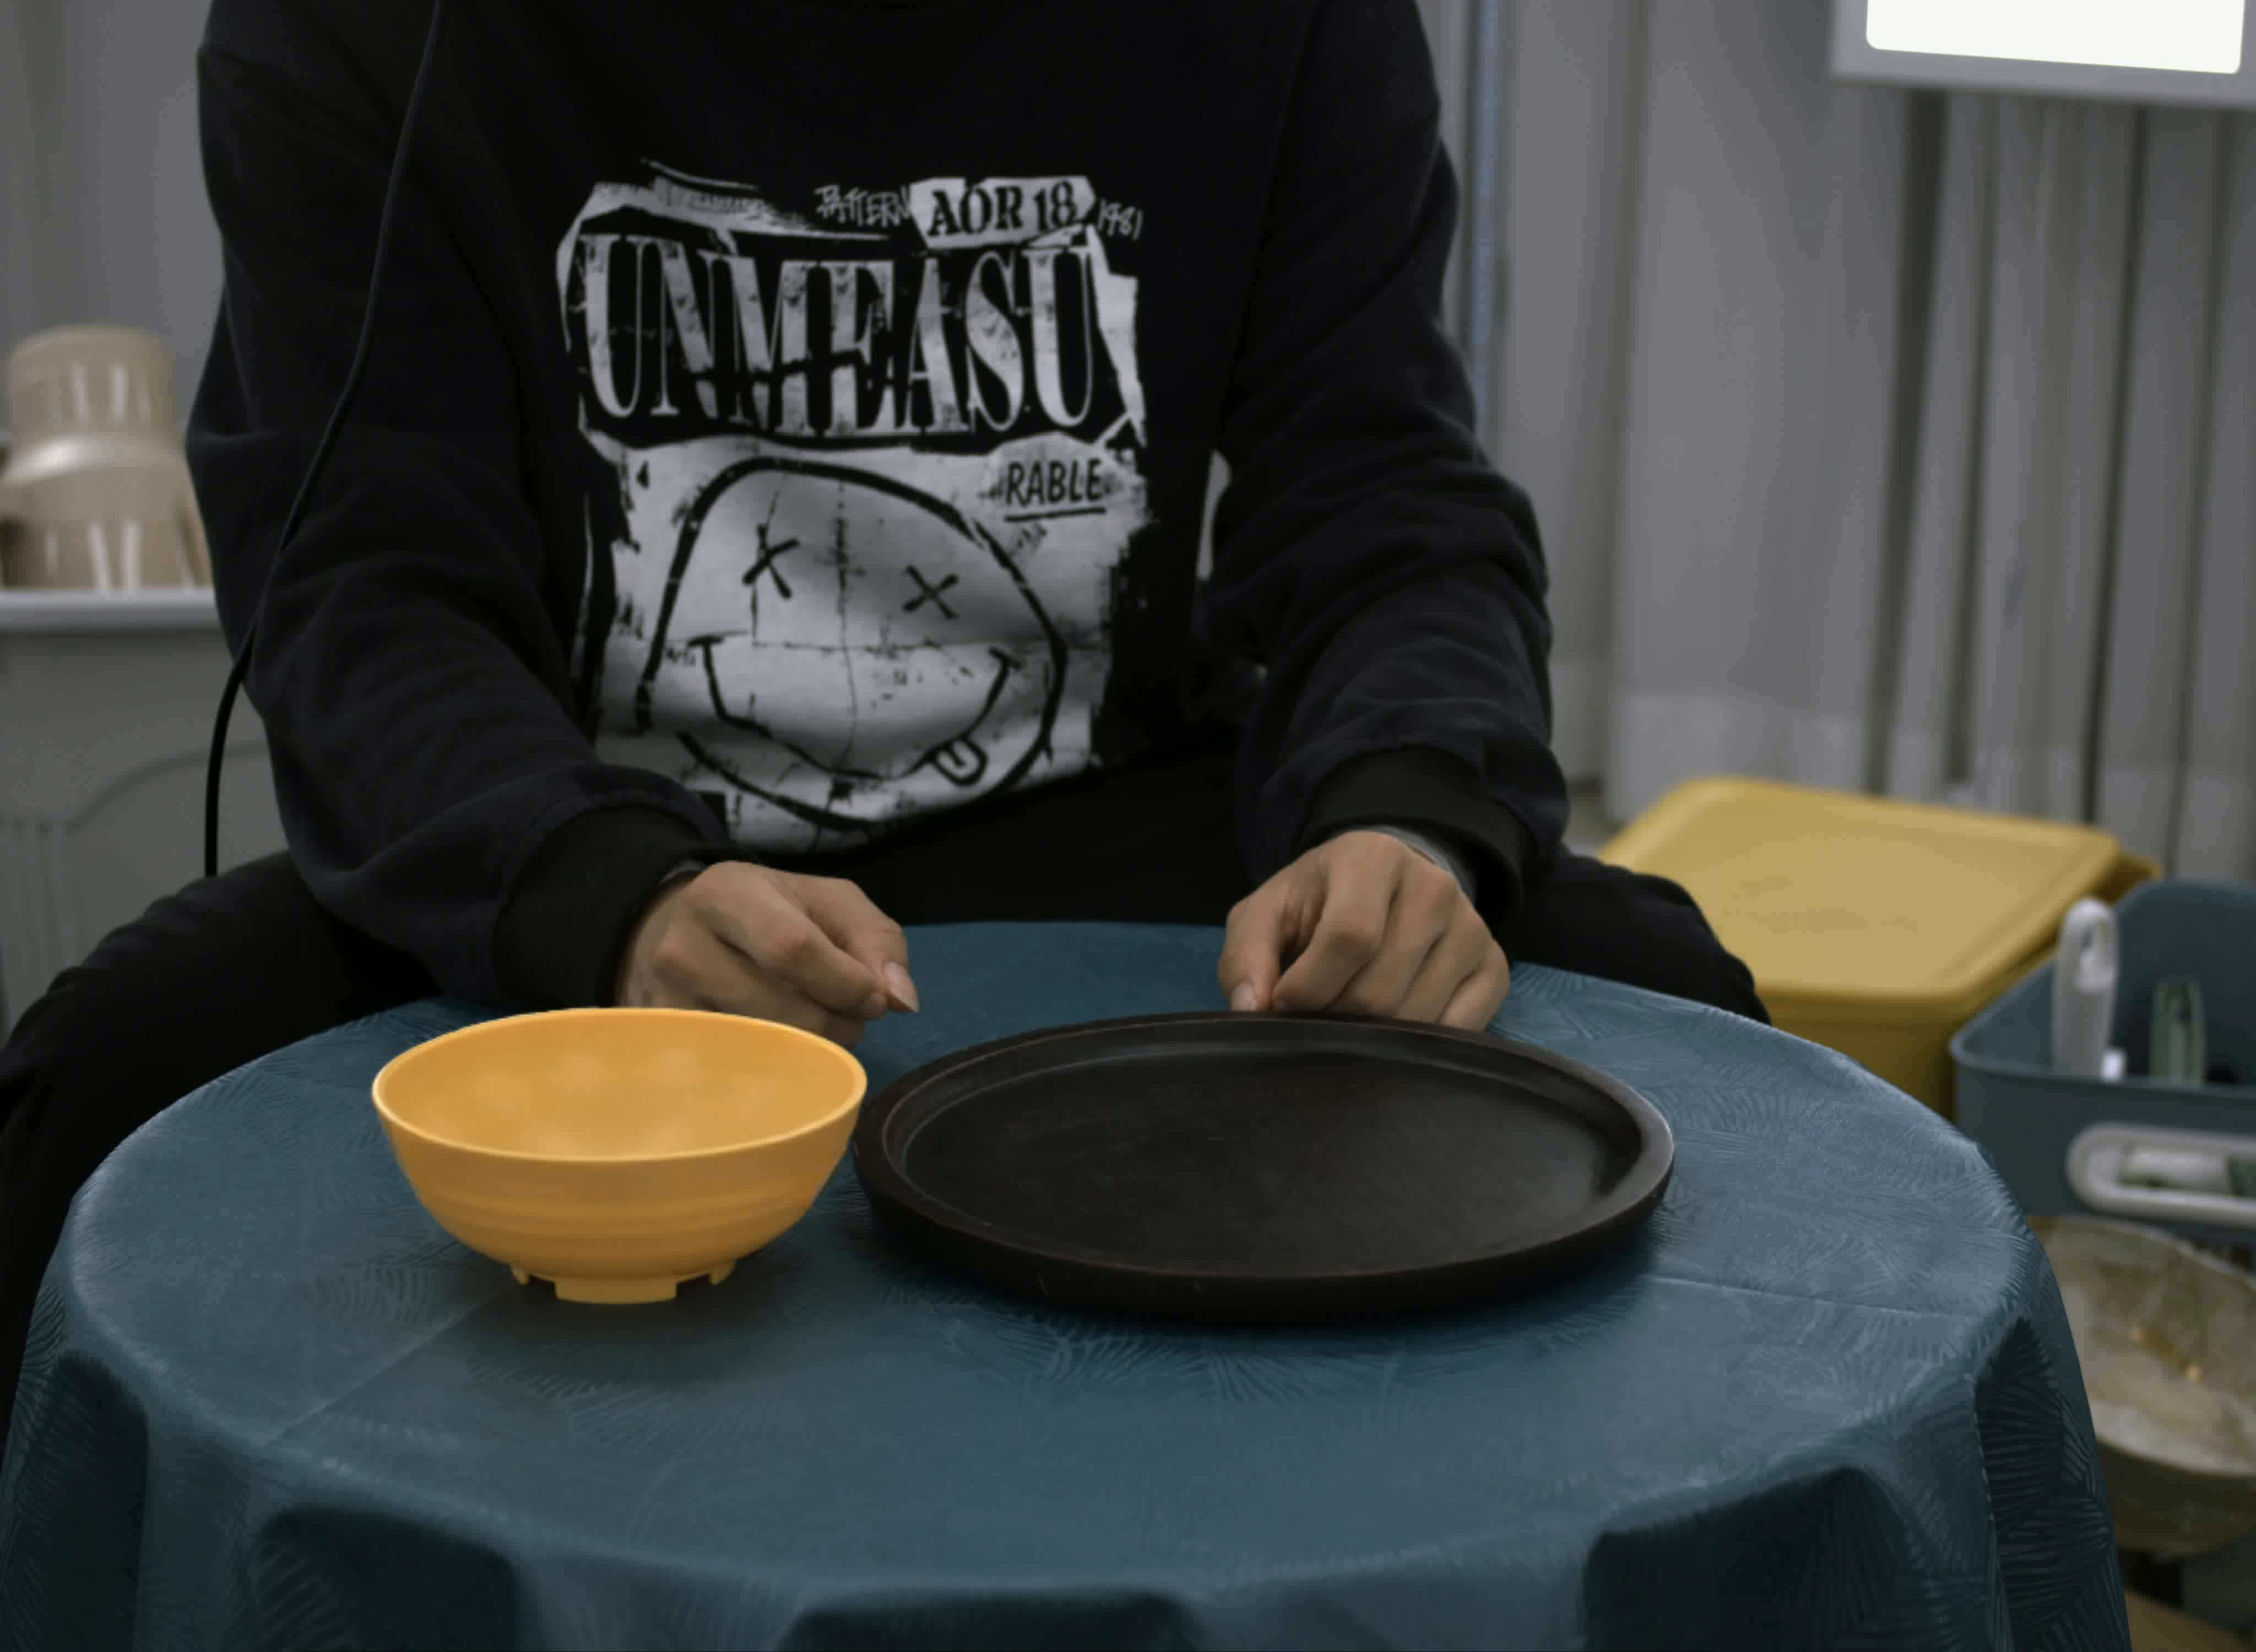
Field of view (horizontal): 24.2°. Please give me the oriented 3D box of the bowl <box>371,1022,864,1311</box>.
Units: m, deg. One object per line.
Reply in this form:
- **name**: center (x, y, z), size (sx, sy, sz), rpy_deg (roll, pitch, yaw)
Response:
- **bowl**: center (-0.150, 0.104, 1.548), size (0.145, 0.060, 0.144), rpy_deg (2, 14, 0)

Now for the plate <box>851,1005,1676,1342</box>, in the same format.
- **plate**: center (0.042, 0.104, 1.618), size (0.254, 0.029, 0.253), rpy_deg (-1, 16, 1)
